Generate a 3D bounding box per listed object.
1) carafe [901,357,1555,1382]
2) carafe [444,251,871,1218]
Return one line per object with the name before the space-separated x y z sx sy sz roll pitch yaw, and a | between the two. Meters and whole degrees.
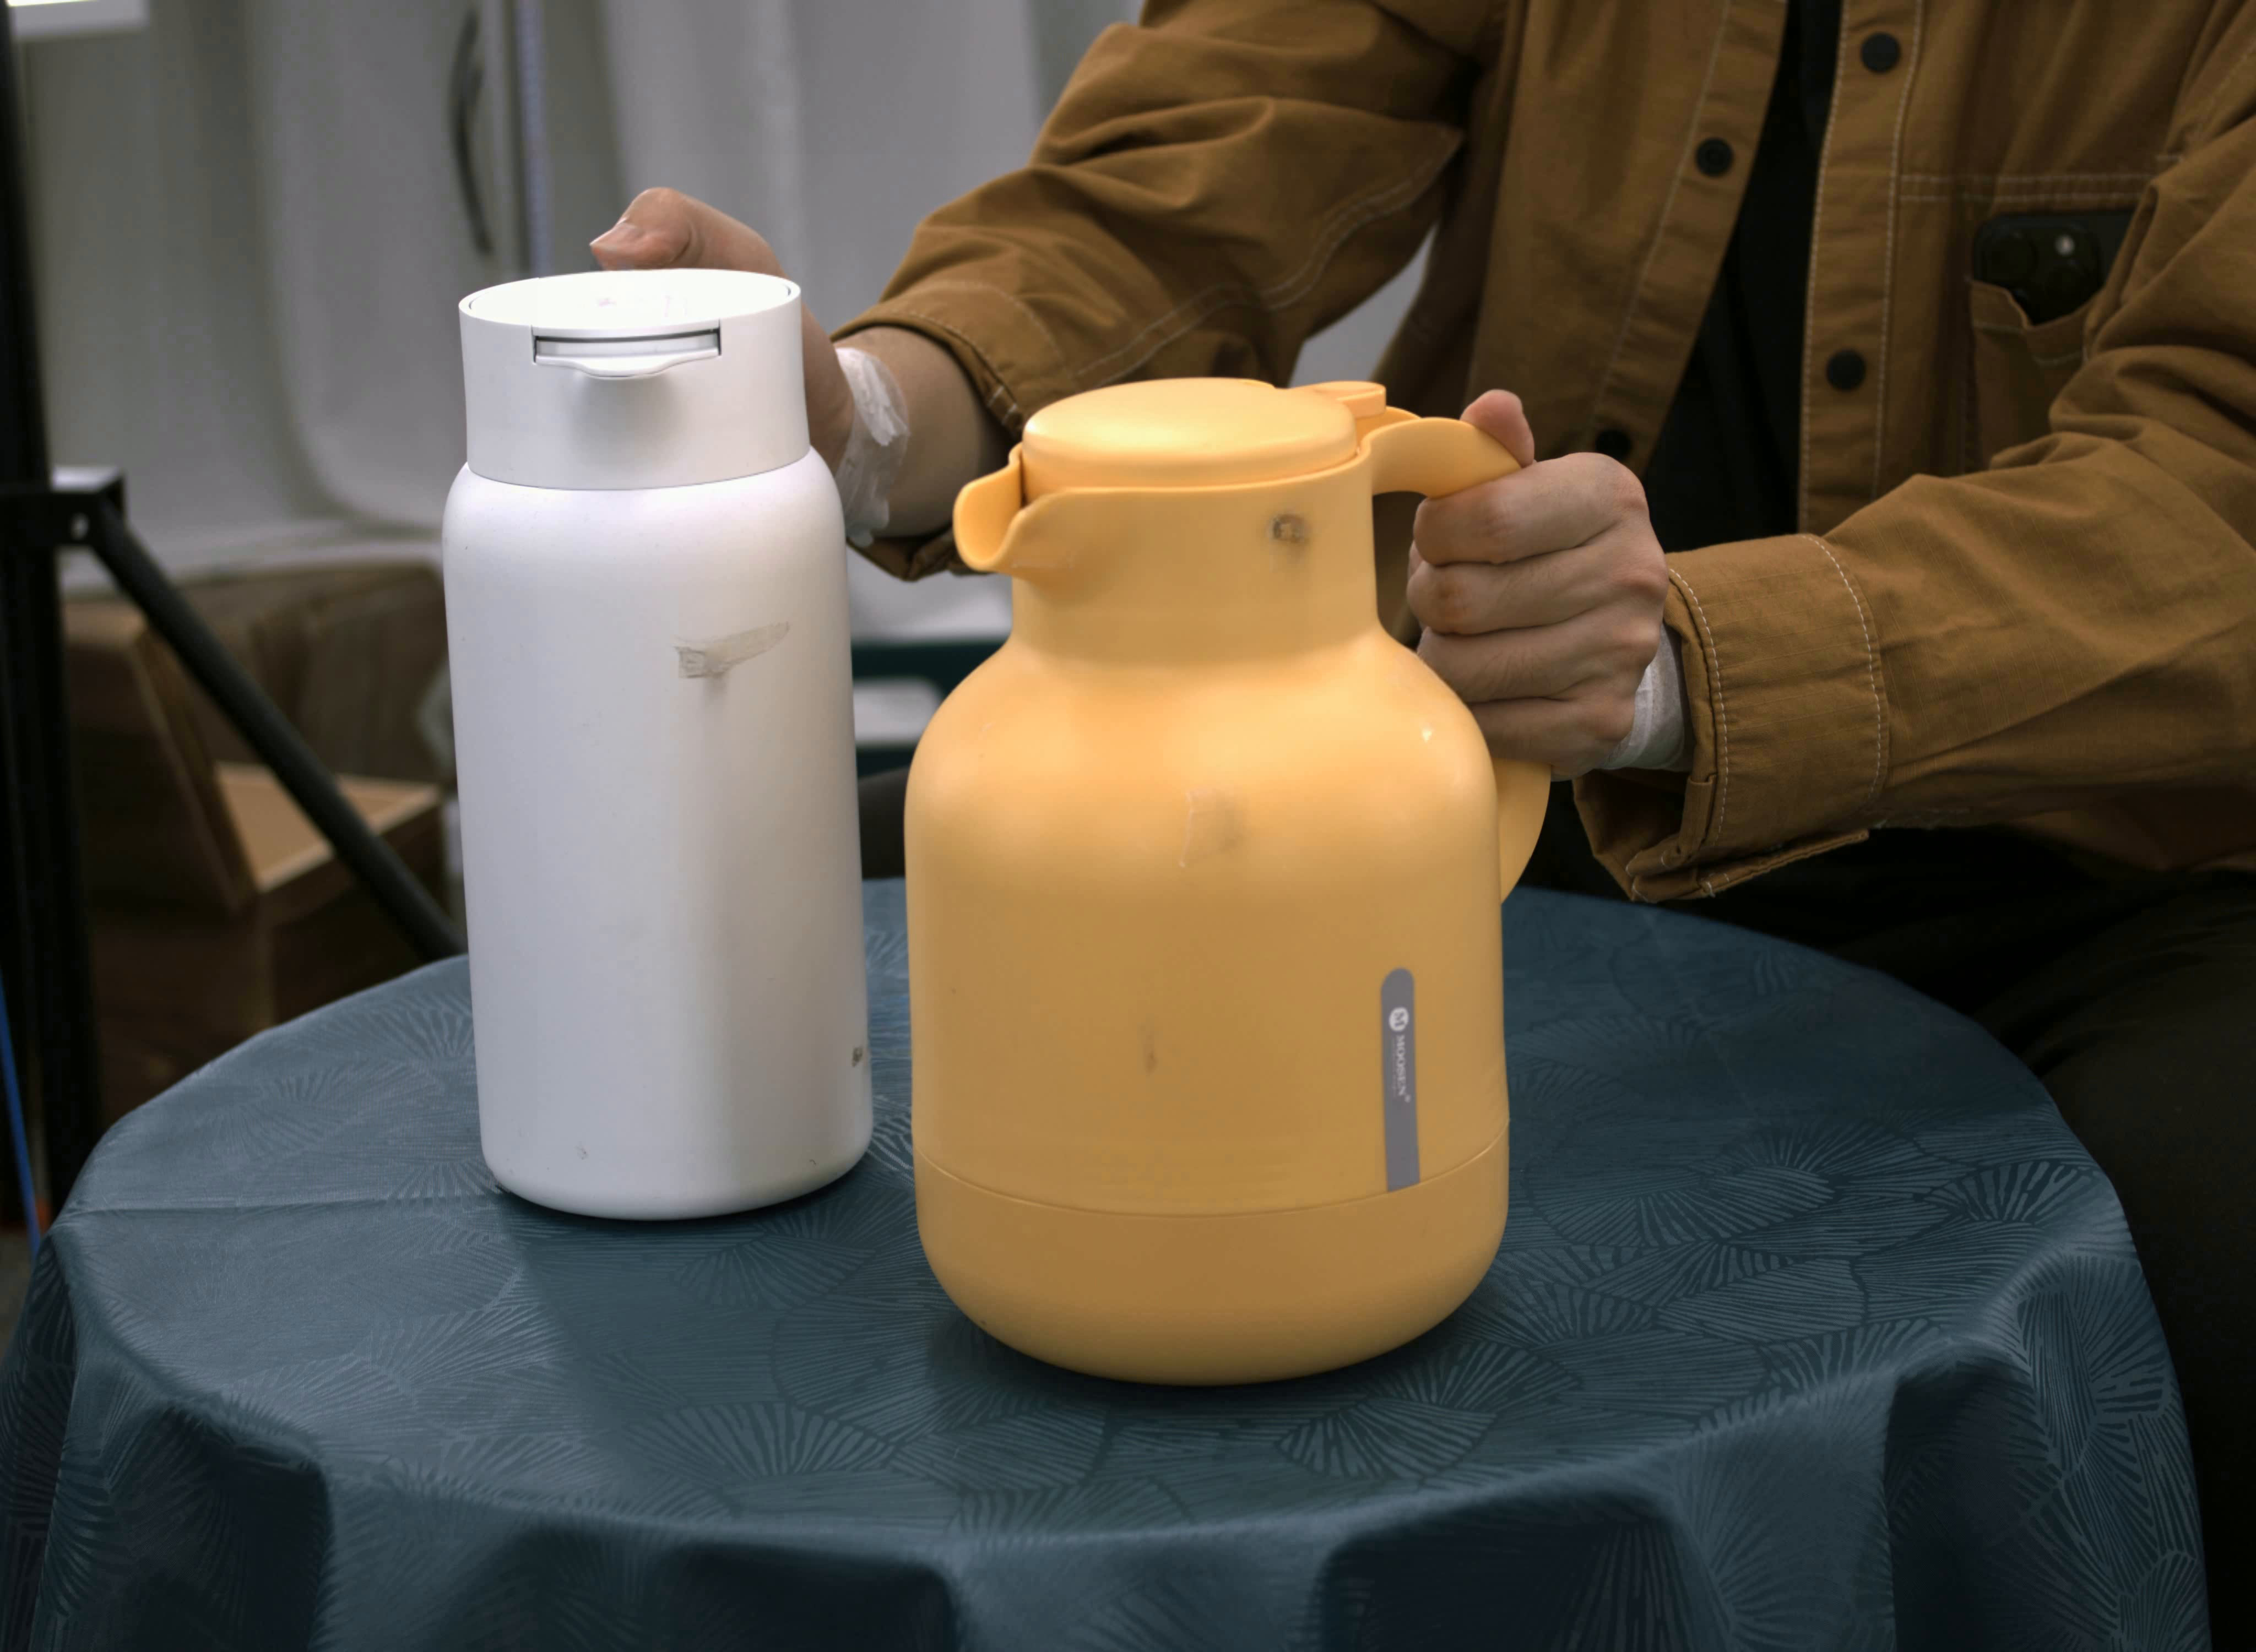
carafe | 0.036 0.004 1.433 0.198 0.260 0.167 -15 22 -34
carafe | -0.140 -0.031 1.579 0.123 0.269 0.174 -5 14 -2
